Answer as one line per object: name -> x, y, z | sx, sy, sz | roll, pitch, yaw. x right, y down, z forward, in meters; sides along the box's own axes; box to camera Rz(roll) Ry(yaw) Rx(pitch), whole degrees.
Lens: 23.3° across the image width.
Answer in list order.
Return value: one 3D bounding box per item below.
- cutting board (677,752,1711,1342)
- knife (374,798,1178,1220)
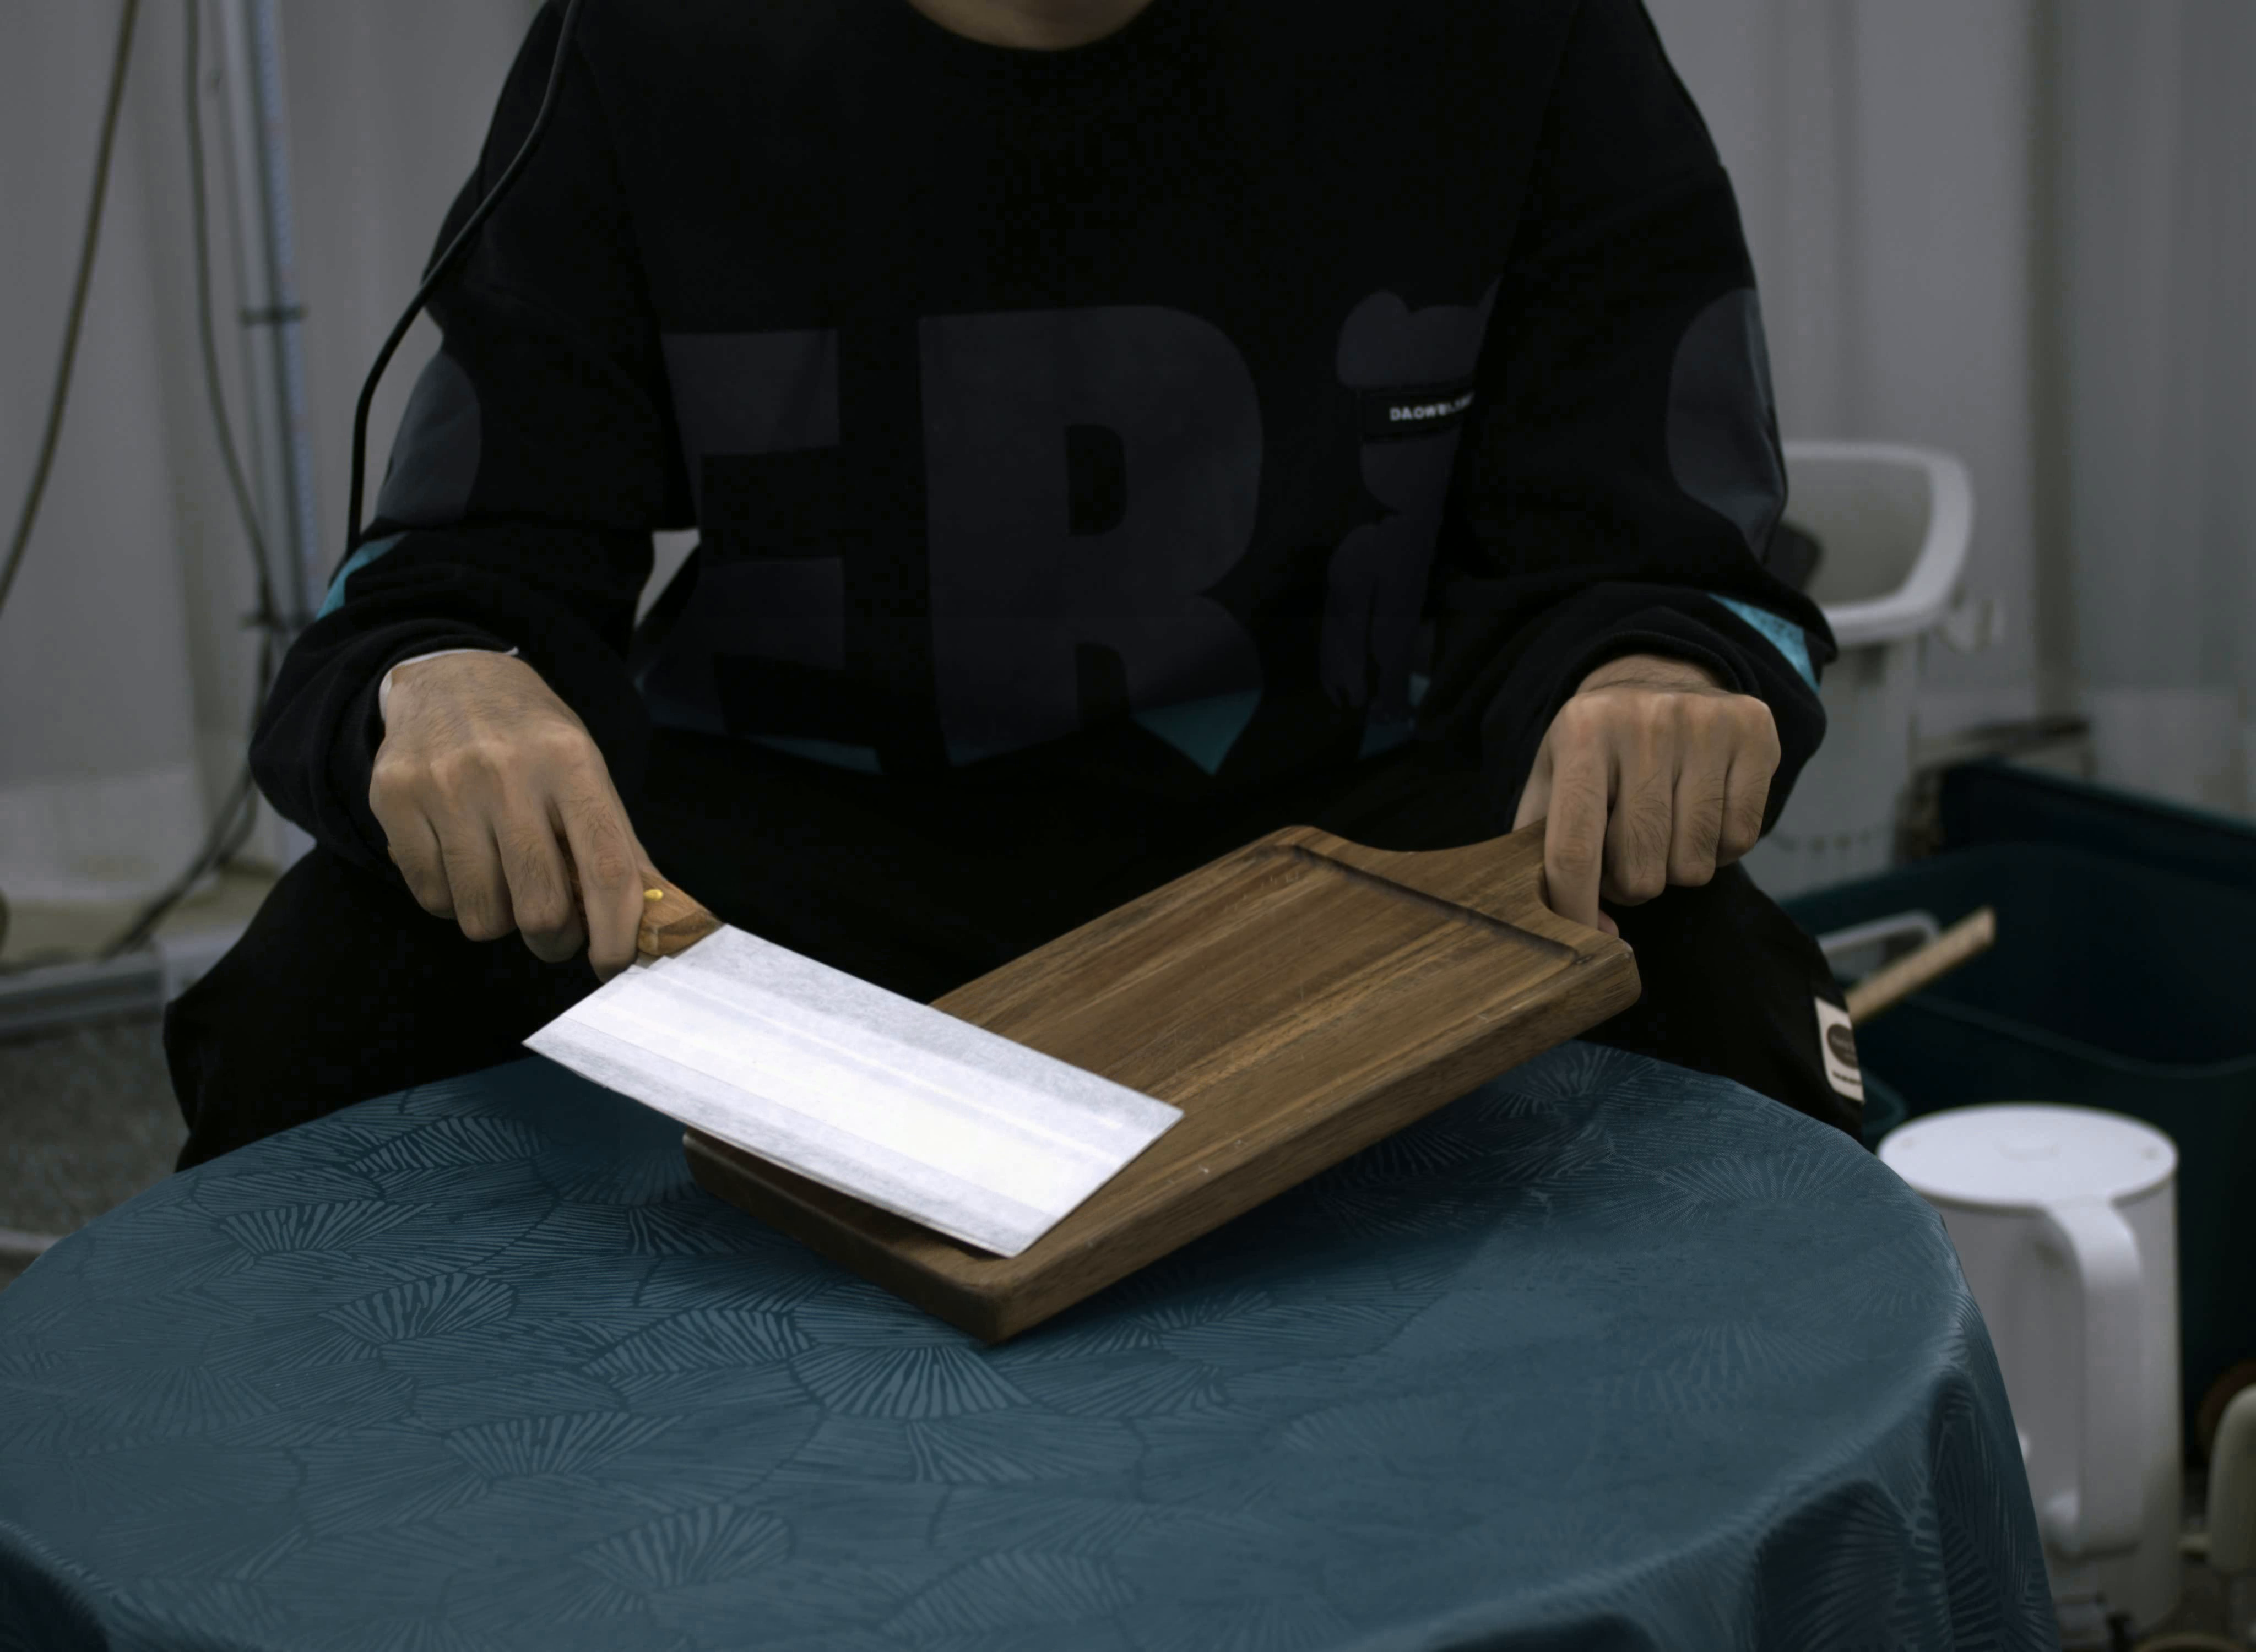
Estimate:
cutting board -> 0.048, 0.055, 1.736 | 0.352, 0.023, 0.202 | -26, 24, -26
knife -> -0.130, 0.059, 1.708 | 0.307, 0.021, 0.093 | 20, 38, 30
